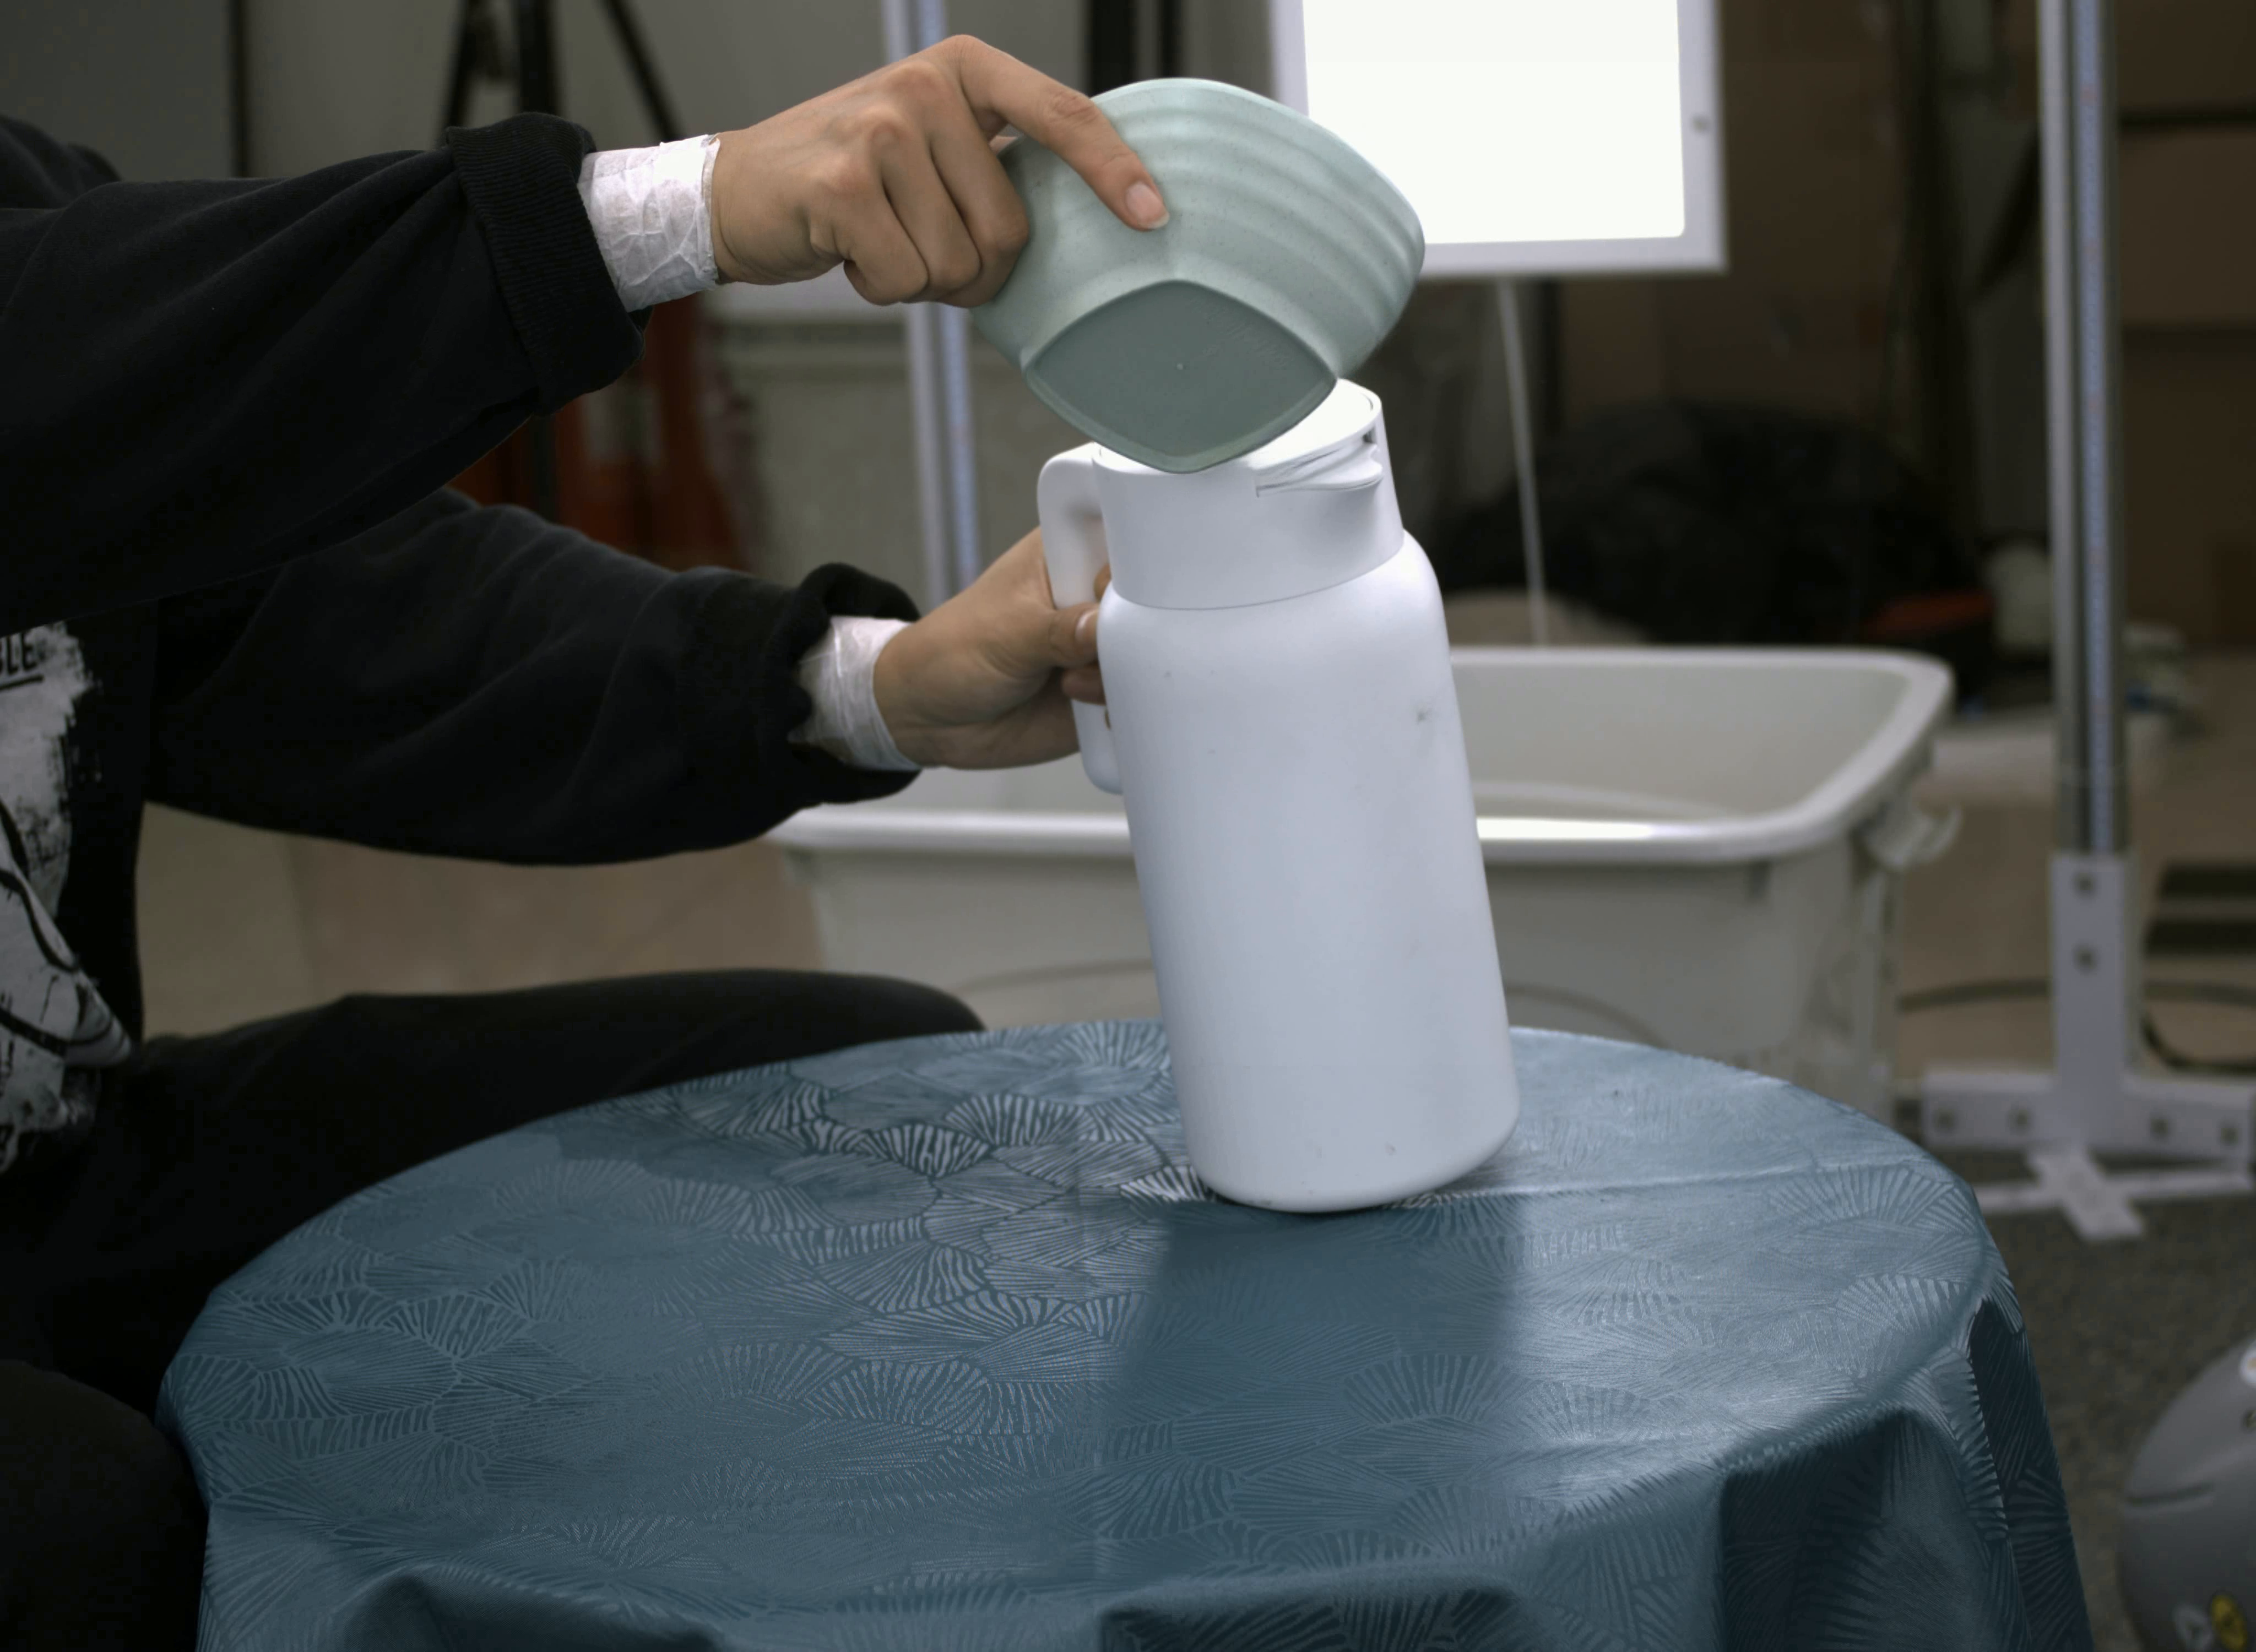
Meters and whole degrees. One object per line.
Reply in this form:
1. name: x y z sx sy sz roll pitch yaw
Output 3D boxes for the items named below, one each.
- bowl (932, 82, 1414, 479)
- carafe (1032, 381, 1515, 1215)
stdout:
1. bowl: 0.014 -0.160 1.707 0.152 0.151 0.058 -2 56 8
2. carafe: 0.045 -0.013 1.870 0.121 0.269 0.176 -26 25 -32
